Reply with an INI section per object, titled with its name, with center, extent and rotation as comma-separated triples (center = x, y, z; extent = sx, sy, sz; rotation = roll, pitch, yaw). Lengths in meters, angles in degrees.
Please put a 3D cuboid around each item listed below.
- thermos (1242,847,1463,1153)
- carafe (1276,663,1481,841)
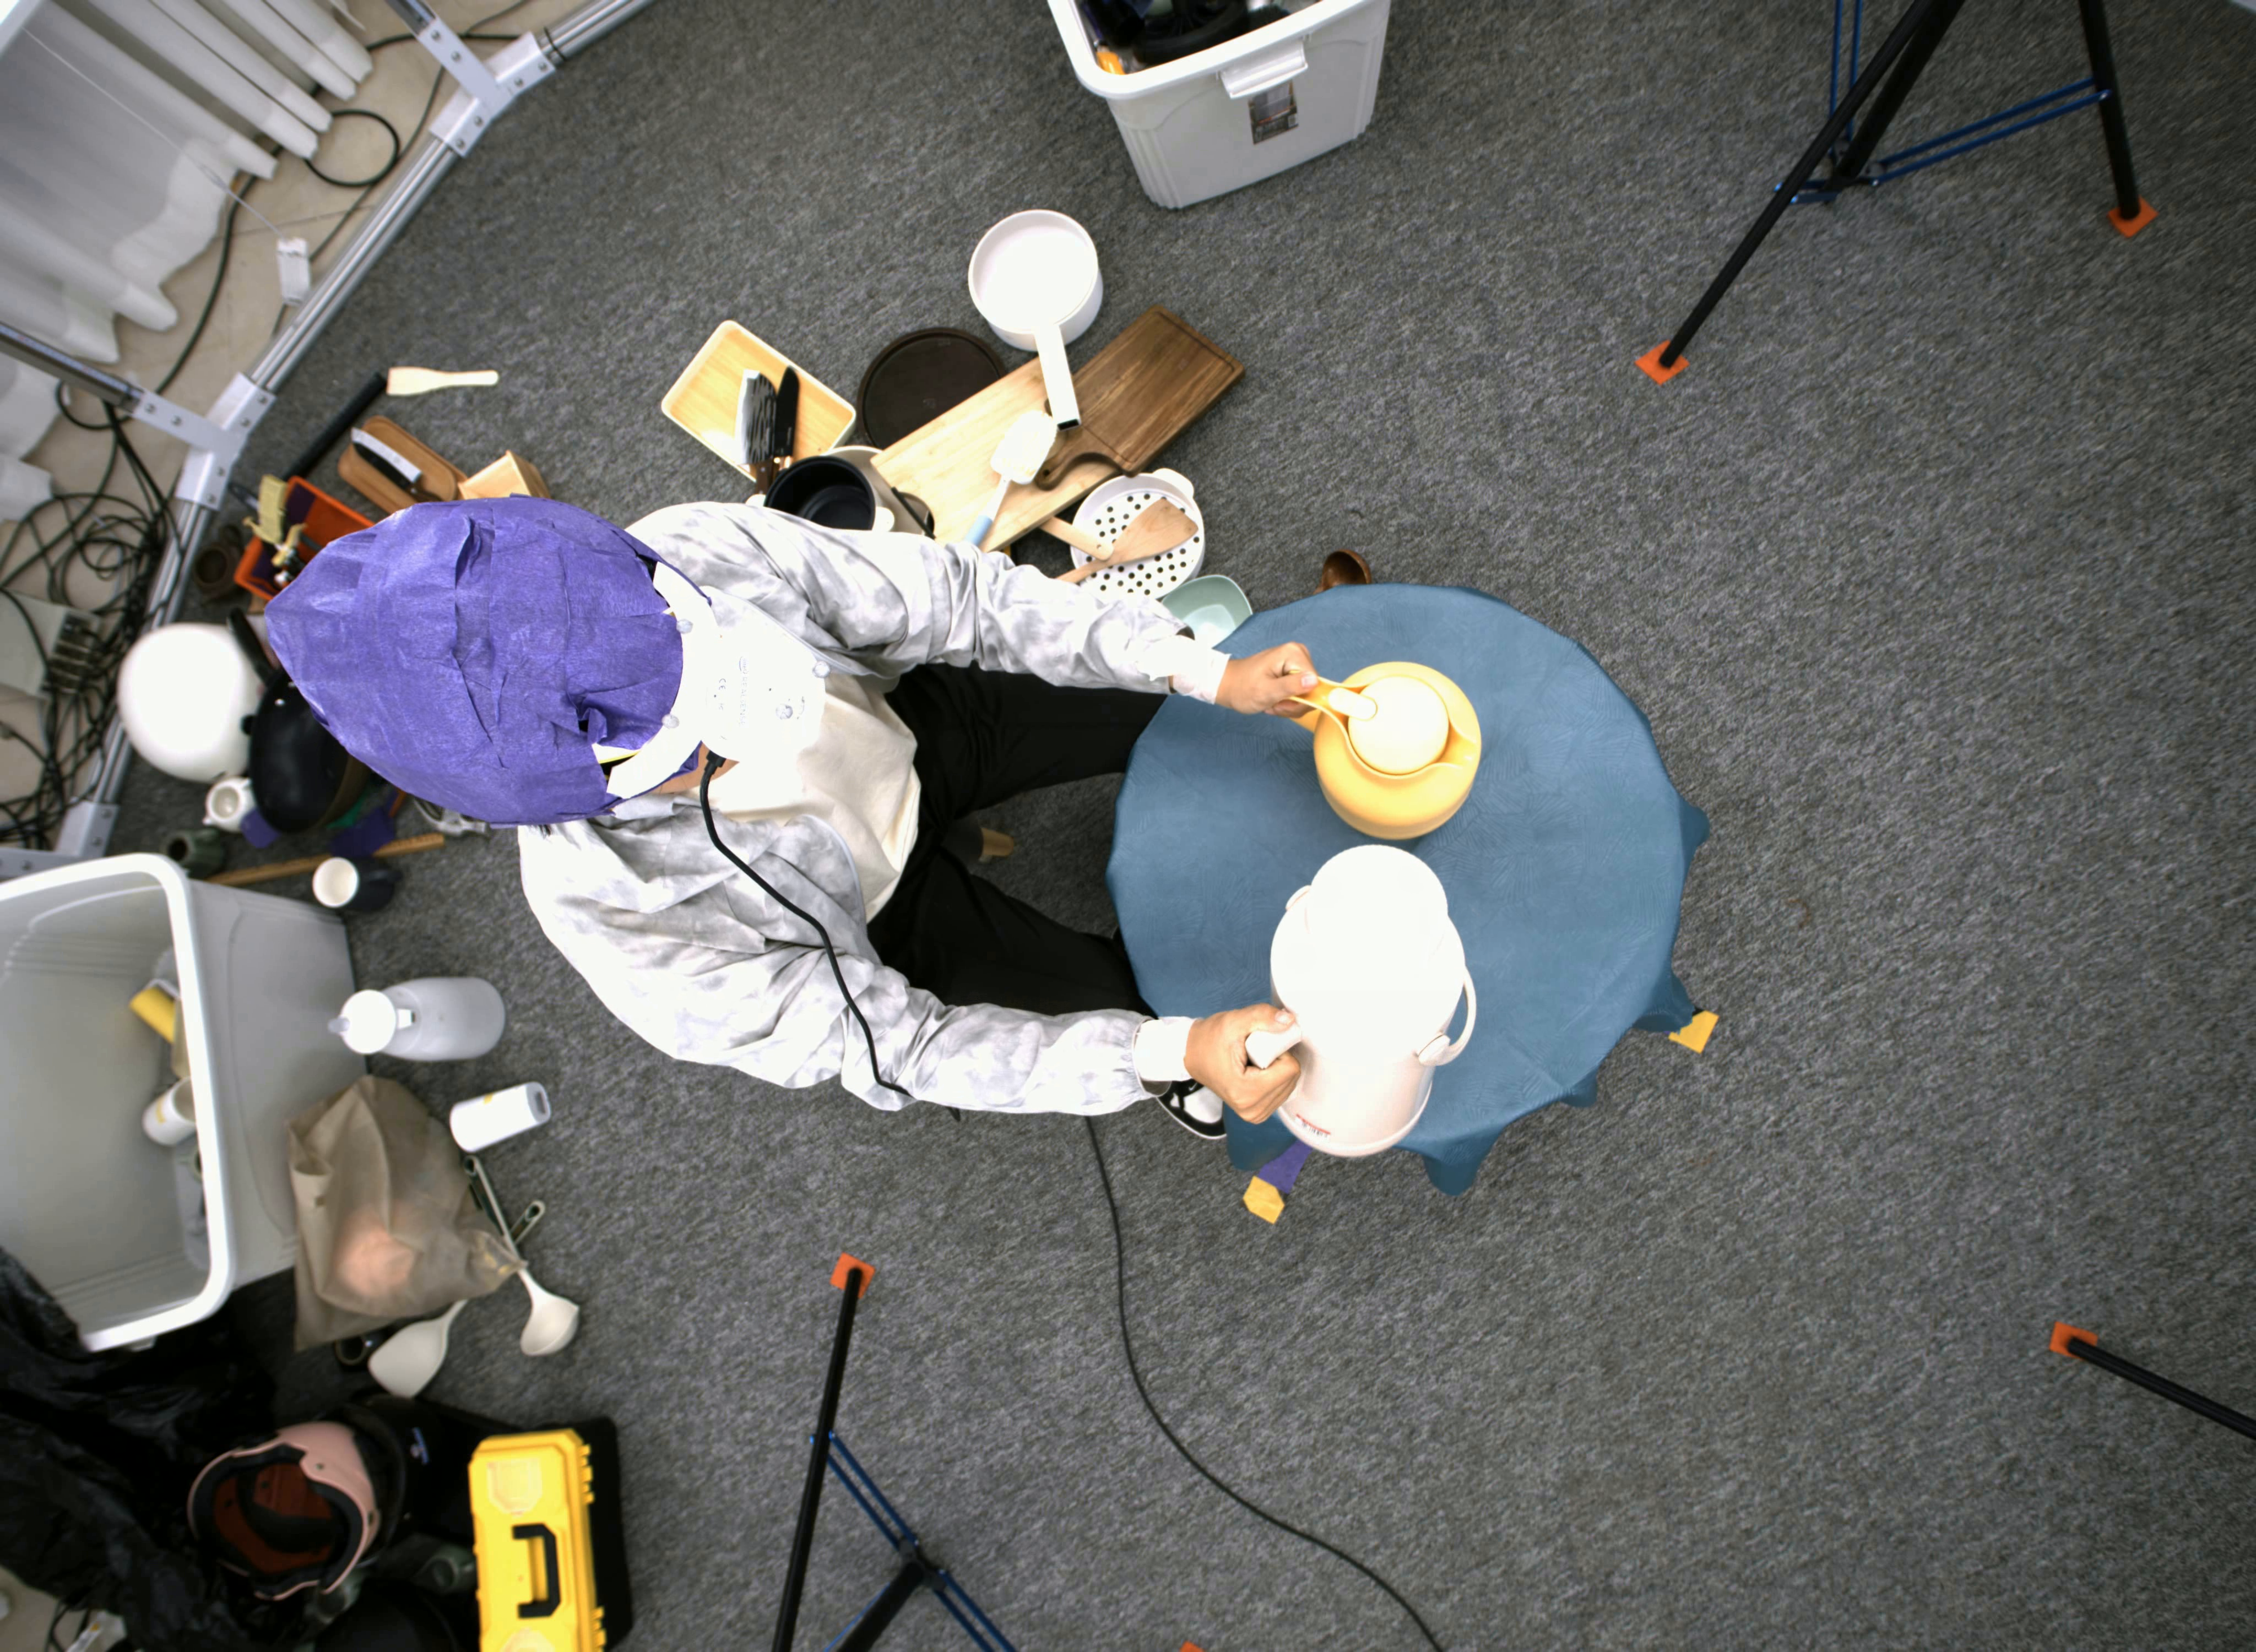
[thermos]
center = 0.188, 0.162, 1.202
extent = 0.205, 0.414, 0.173
rotation = -34, 65, -12
[carafe]
center = 0.243, -0.087, 1.339
extent = 0.202, 0.261, 0.163
rotation = 26, 88, 10
